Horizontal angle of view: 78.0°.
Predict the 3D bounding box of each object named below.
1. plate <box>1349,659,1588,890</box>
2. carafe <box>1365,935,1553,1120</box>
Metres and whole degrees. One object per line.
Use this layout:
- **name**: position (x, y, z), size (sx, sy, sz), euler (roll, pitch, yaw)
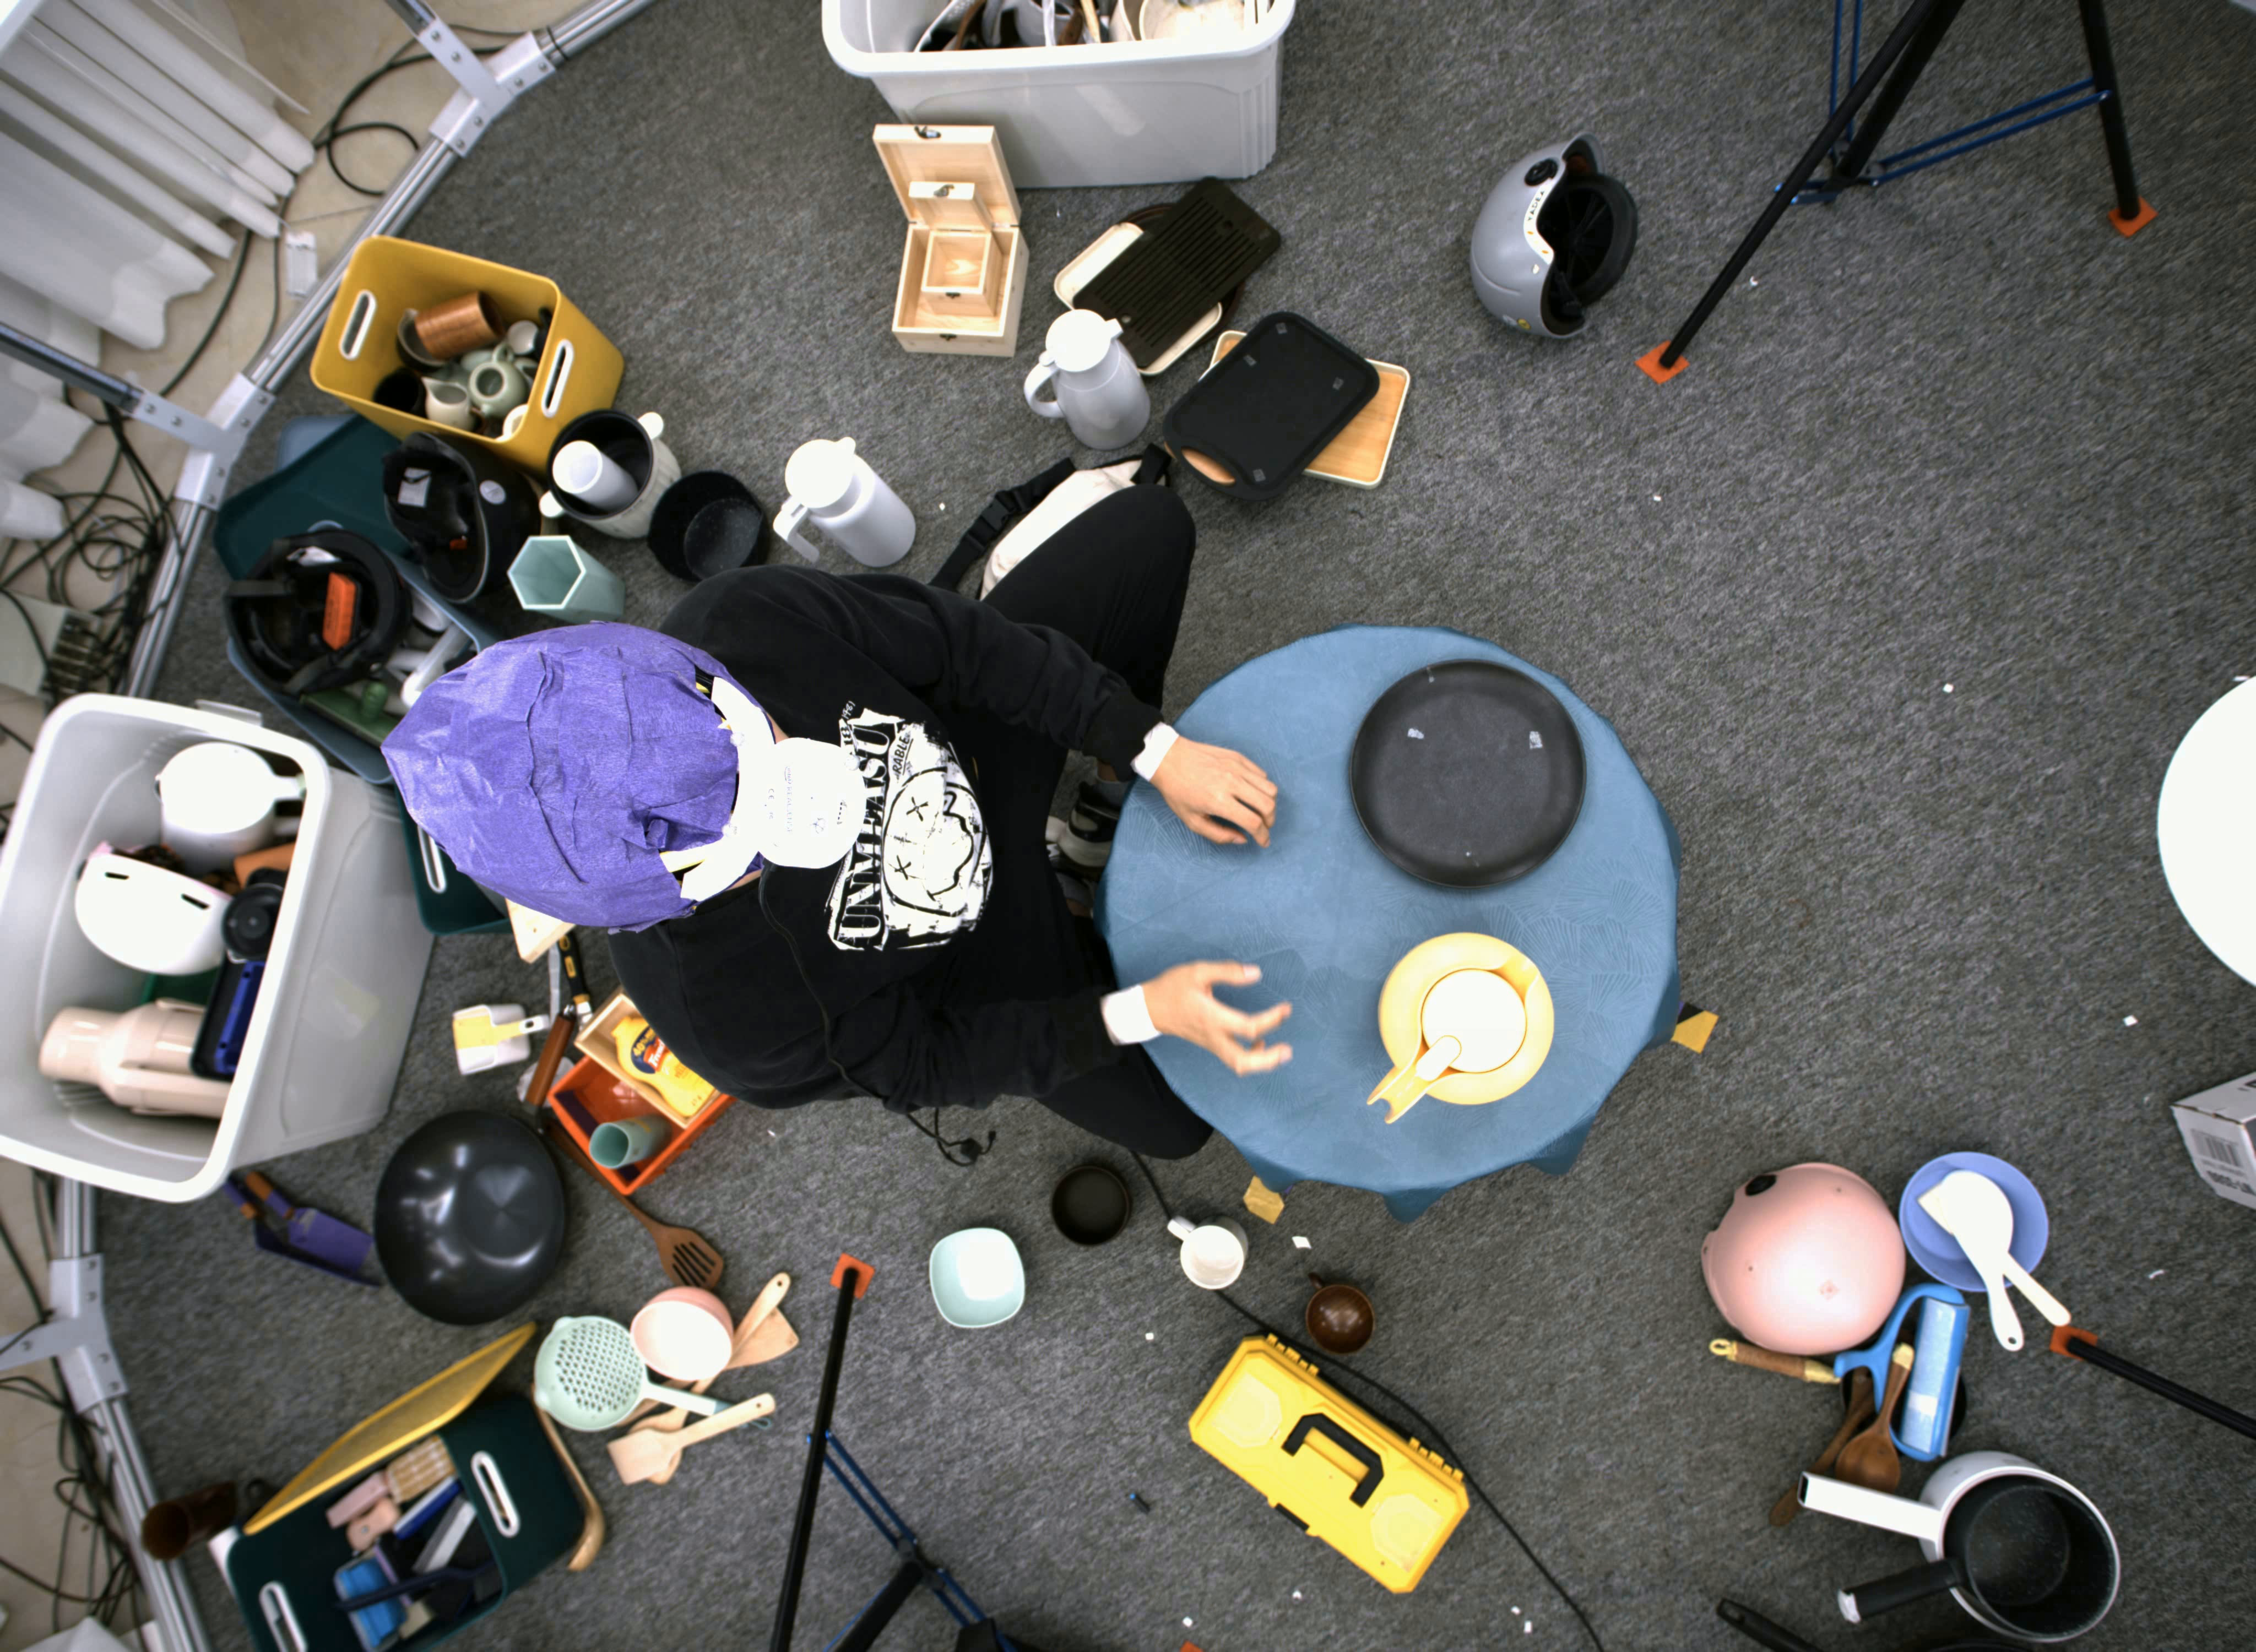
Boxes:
- **plate**: position (0.355, -0.056, 1.439), size (0.245, 0.023, 0.243), euler (-1, 87, 11)
- **carafe**: position (0.305, 0.195, 1.315), size (0.203, 0.261, 0.162), euler (-43, 76, 2)
